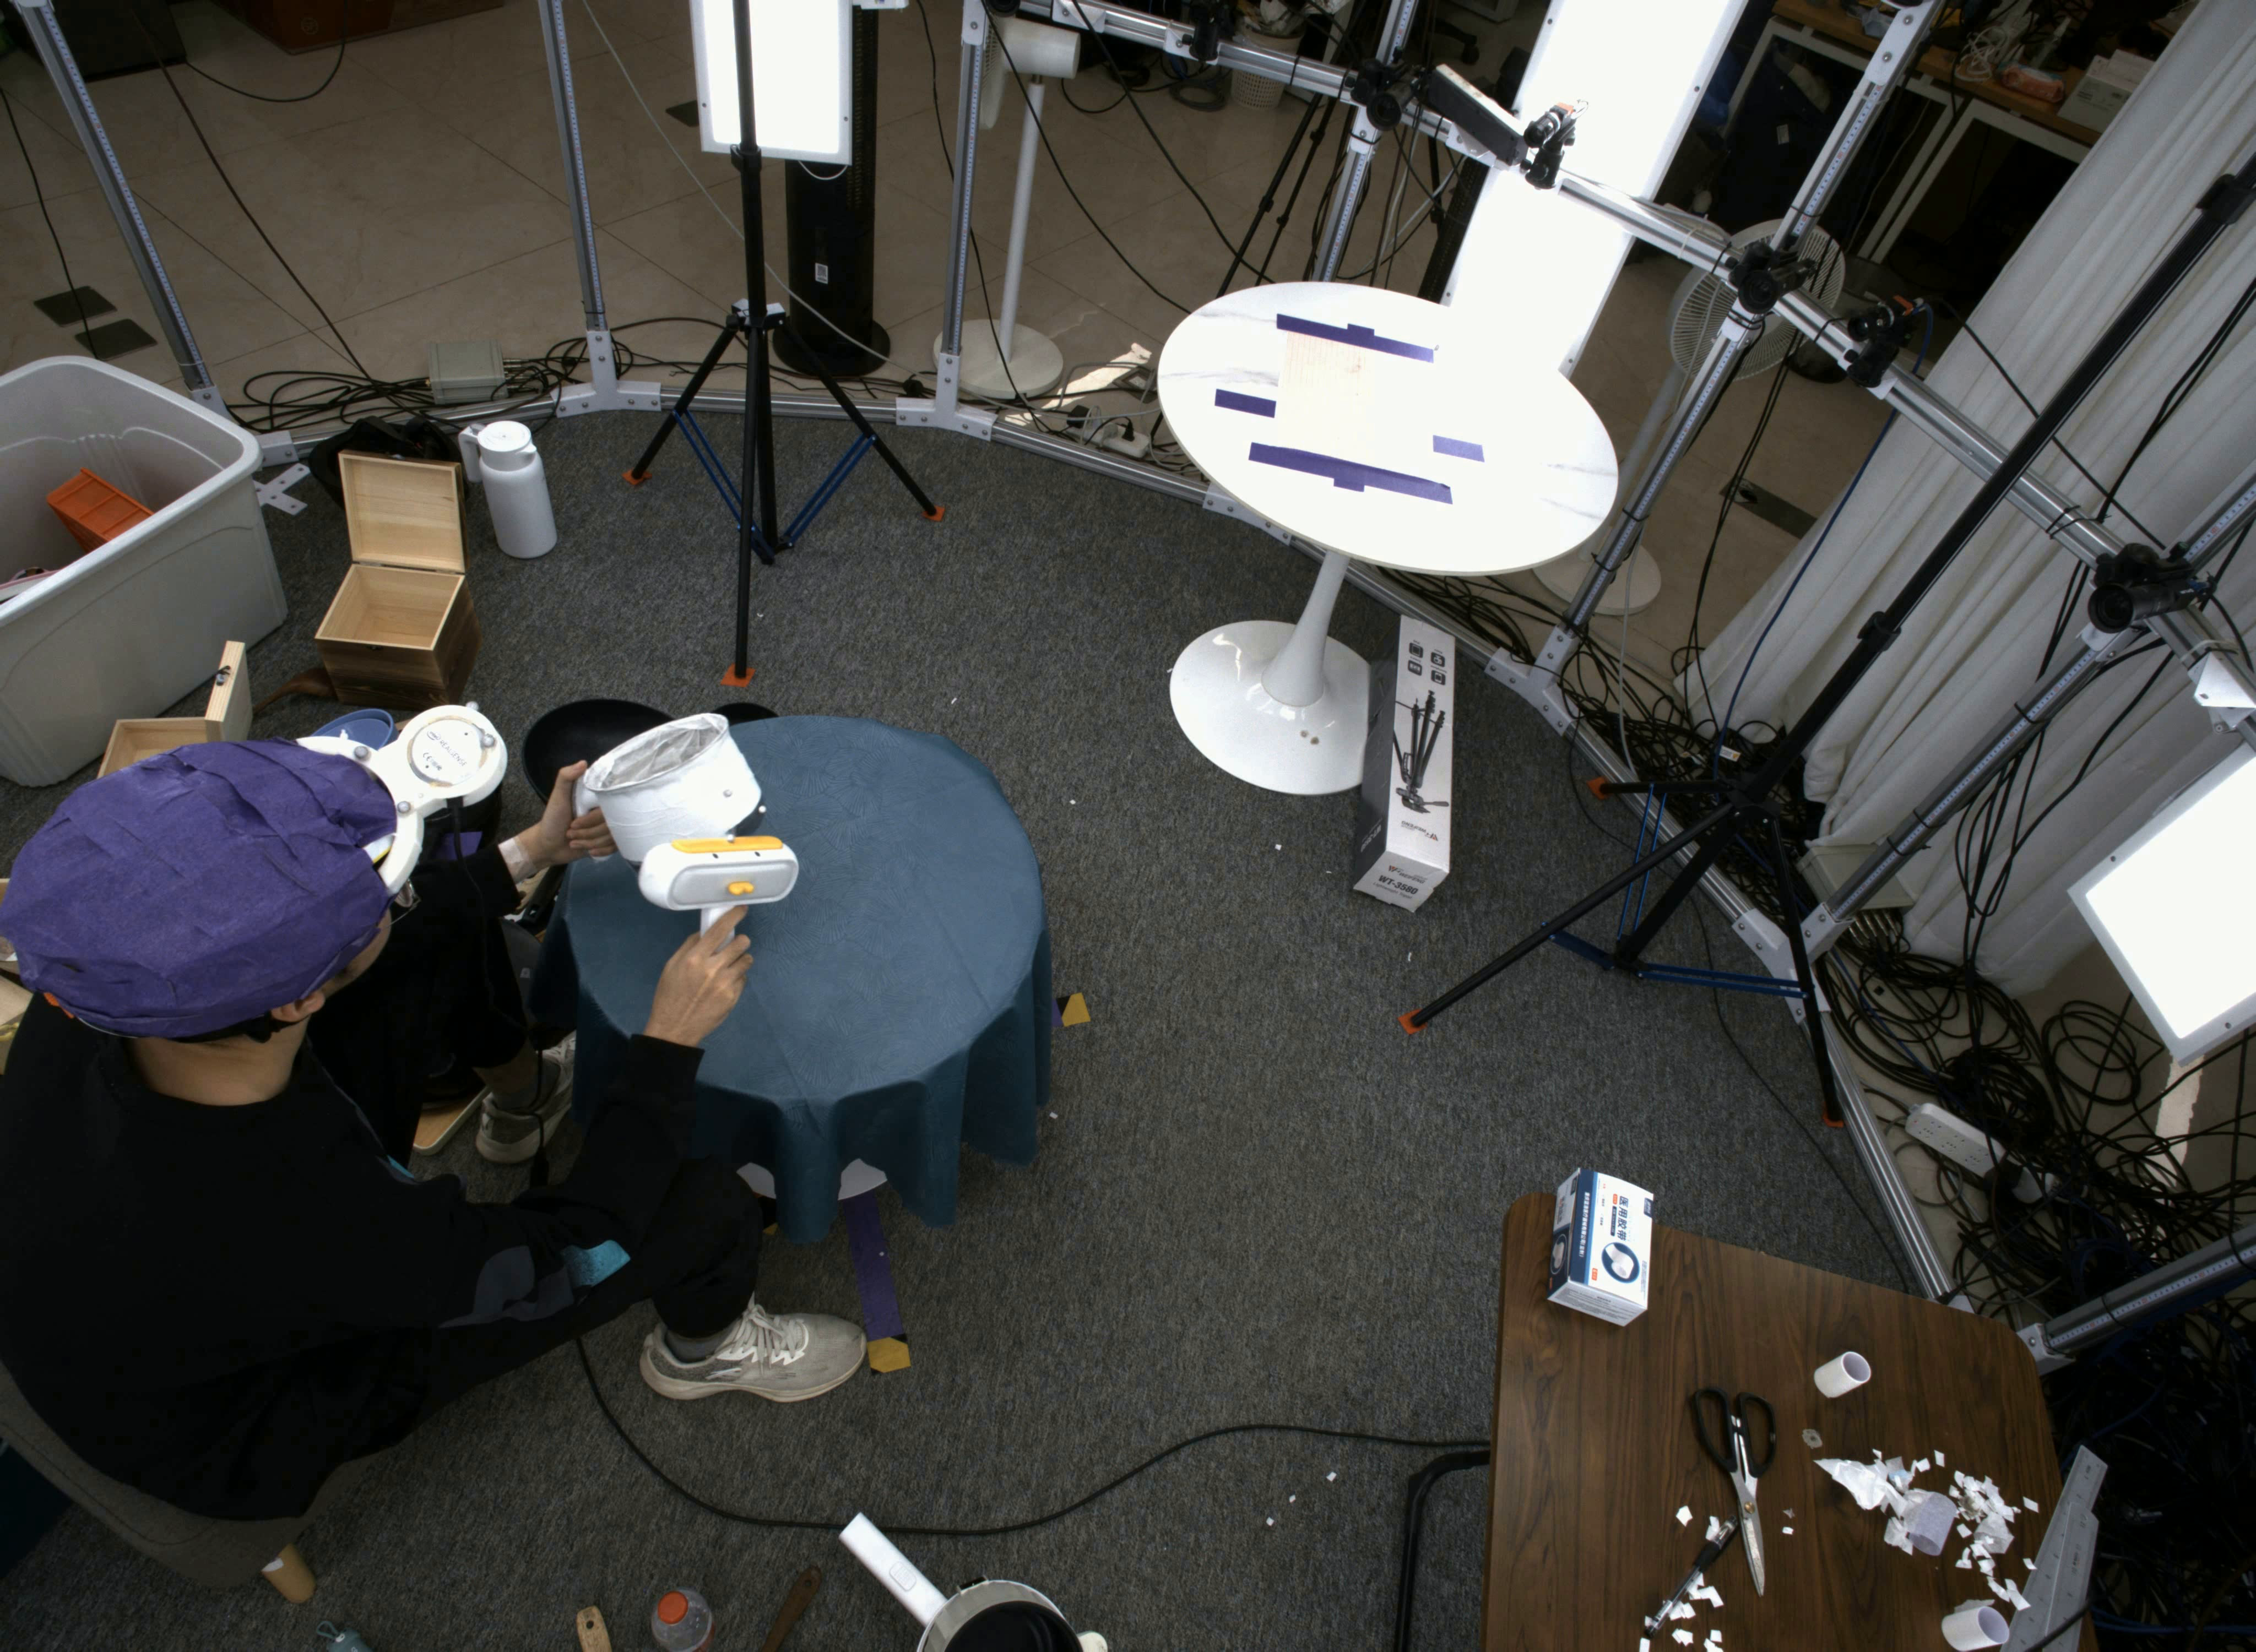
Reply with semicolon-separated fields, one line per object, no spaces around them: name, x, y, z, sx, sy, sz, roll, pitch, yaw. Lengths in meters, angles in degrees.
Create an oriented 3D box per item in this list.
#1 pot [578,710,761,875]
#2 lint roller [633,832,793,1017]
pot;-0.556;-0.033;1.511;0.229;0.141;0.175;-12;27;10
lint roller;-0.448;0.107;1.400;0.072;0.196;0.195;19;16;25
